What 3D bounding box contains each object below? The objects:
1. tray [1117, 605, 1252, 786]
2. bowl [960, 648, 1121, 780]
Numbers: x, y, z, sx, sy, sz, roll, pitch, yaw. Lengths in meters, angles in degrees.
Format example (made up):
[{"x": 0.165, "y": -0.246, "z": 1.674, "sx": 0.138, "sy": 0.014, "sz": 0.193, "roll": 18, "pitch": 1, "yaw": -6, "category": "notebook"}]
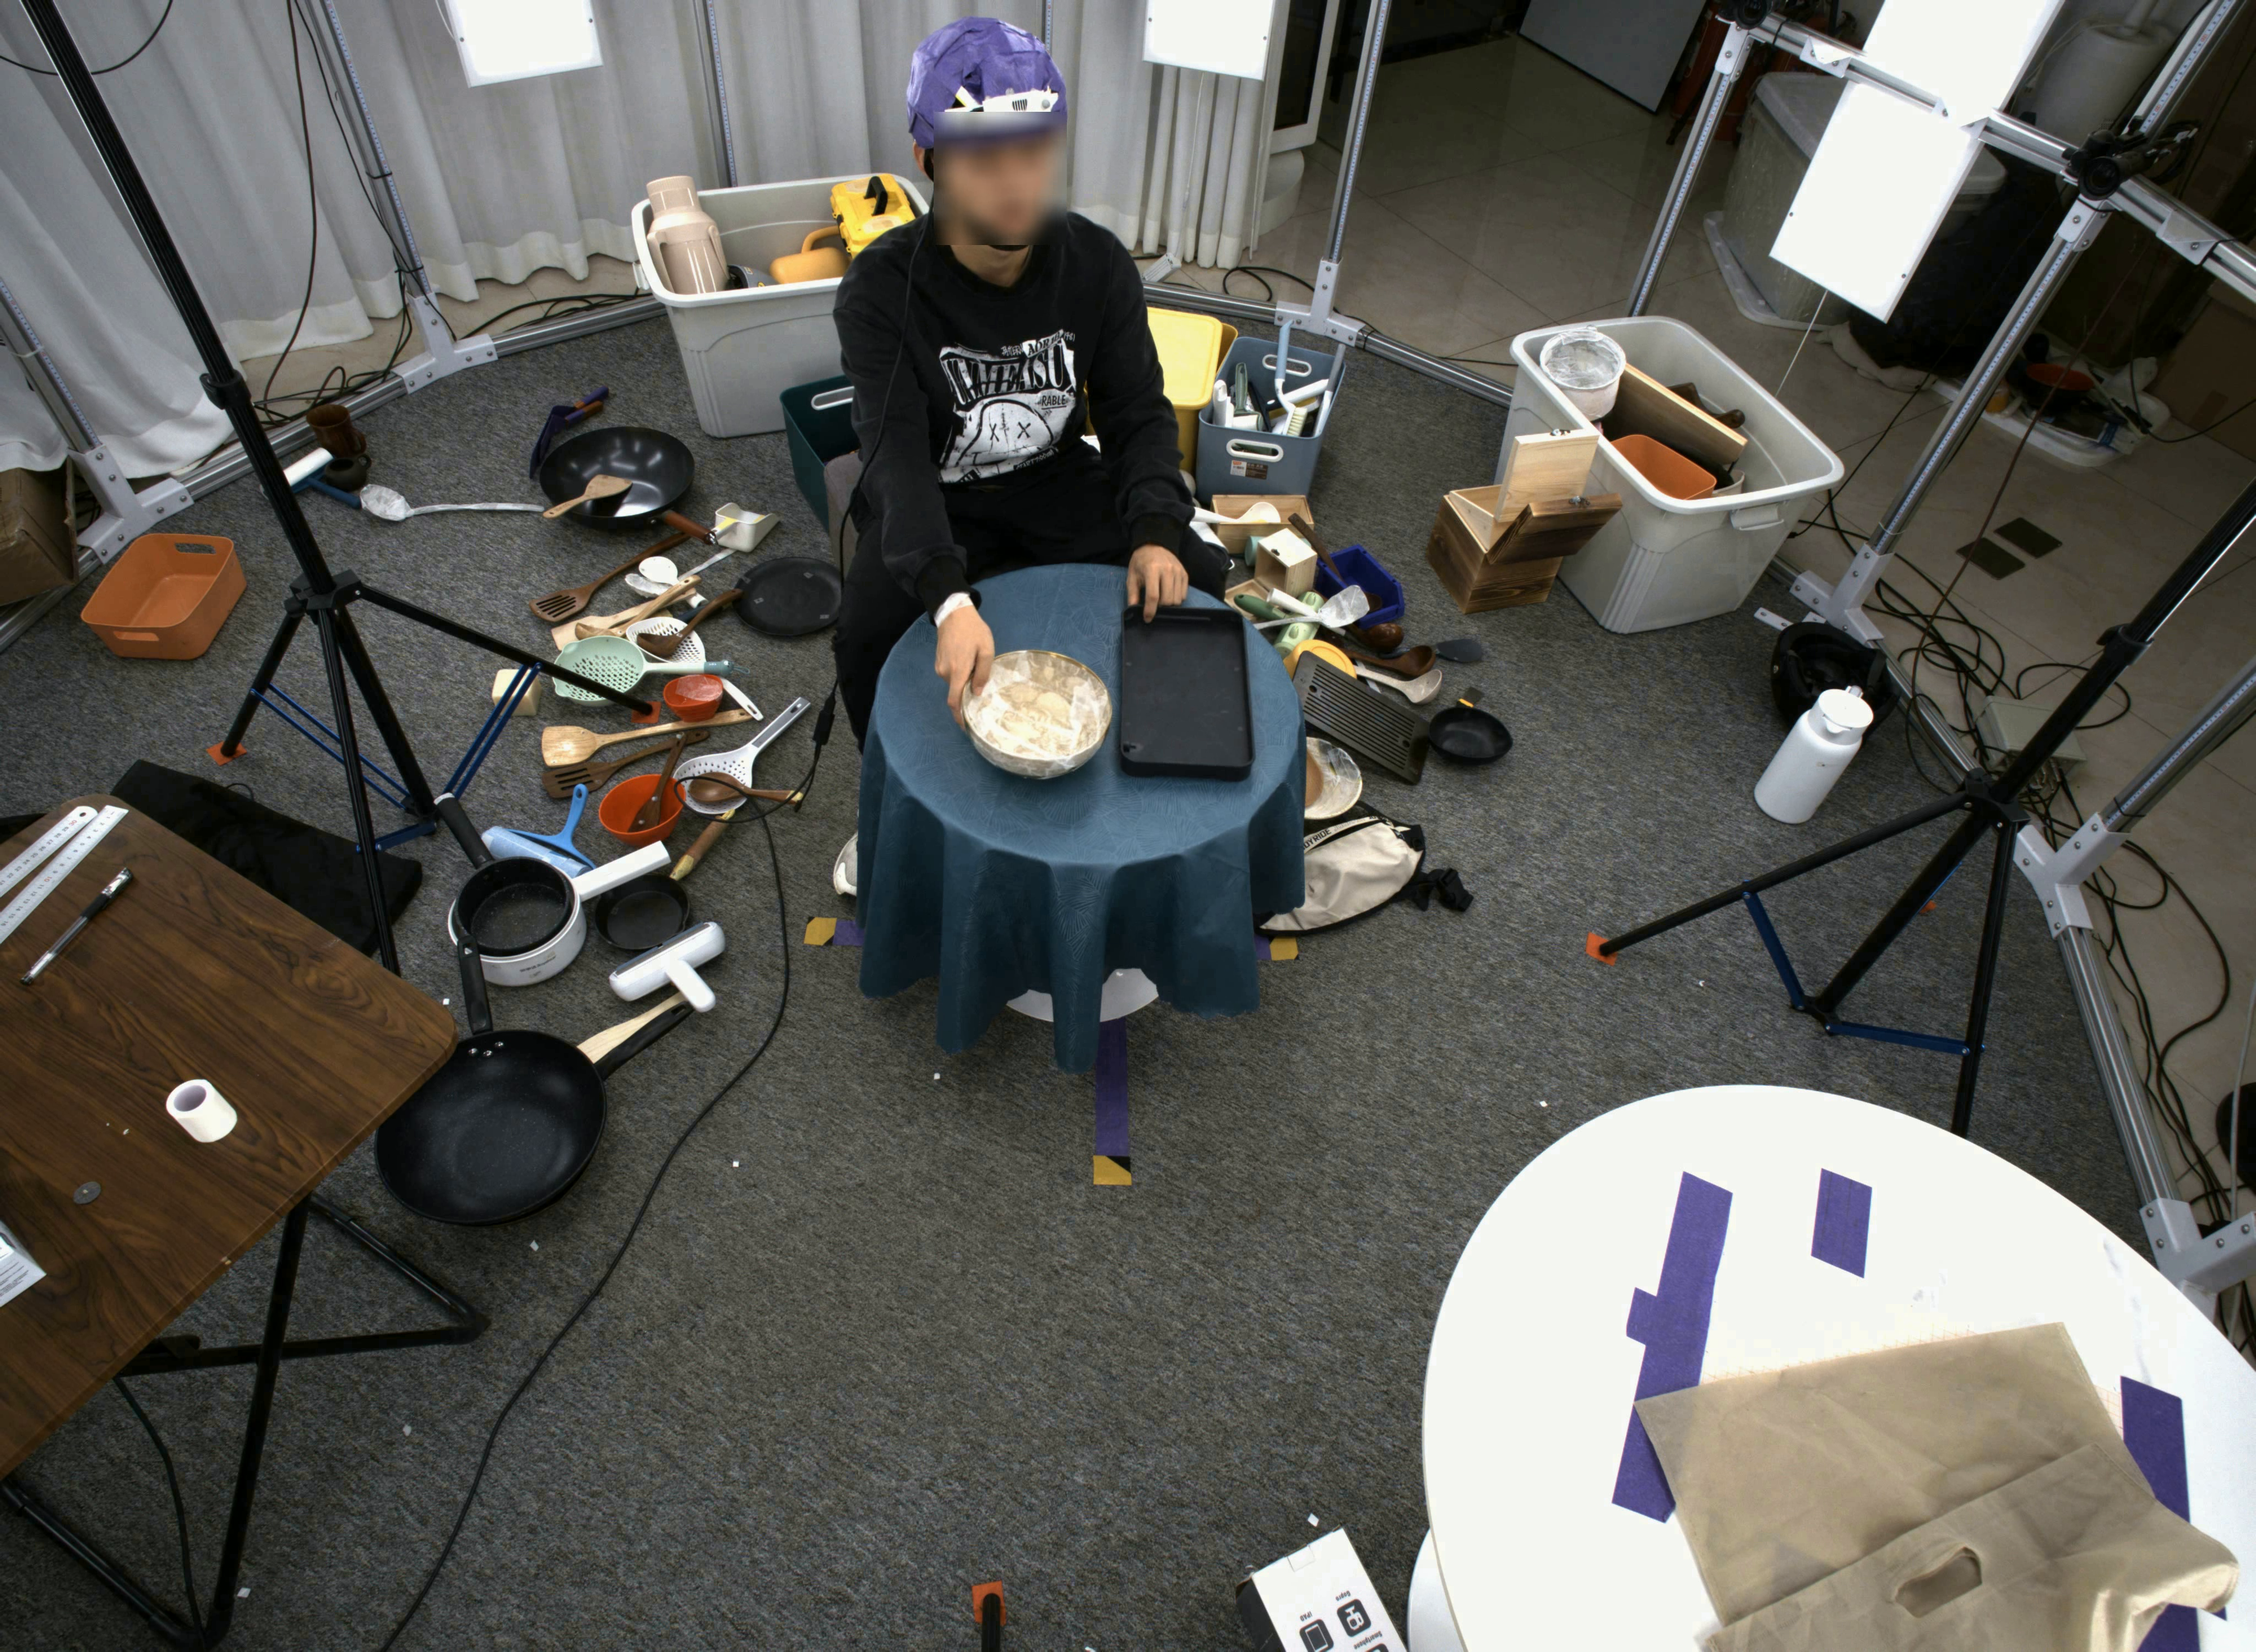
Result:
[{"x": 0.080, "y": -0.192, "z": 1.837, "sx": 0.184, "sy": 0.036, "sz": 0.326, "roll": 4, "pitch": 50, "yaw": -2, "category": "tray"}, {"x": -0.121, "y": -0.137, "z": 1.733, "sx": 0.214, "sy": 0.092, "sz": 0.220, "roll": 3, "pitch": 49, "yaw": -4, "category": "bowl"}]
